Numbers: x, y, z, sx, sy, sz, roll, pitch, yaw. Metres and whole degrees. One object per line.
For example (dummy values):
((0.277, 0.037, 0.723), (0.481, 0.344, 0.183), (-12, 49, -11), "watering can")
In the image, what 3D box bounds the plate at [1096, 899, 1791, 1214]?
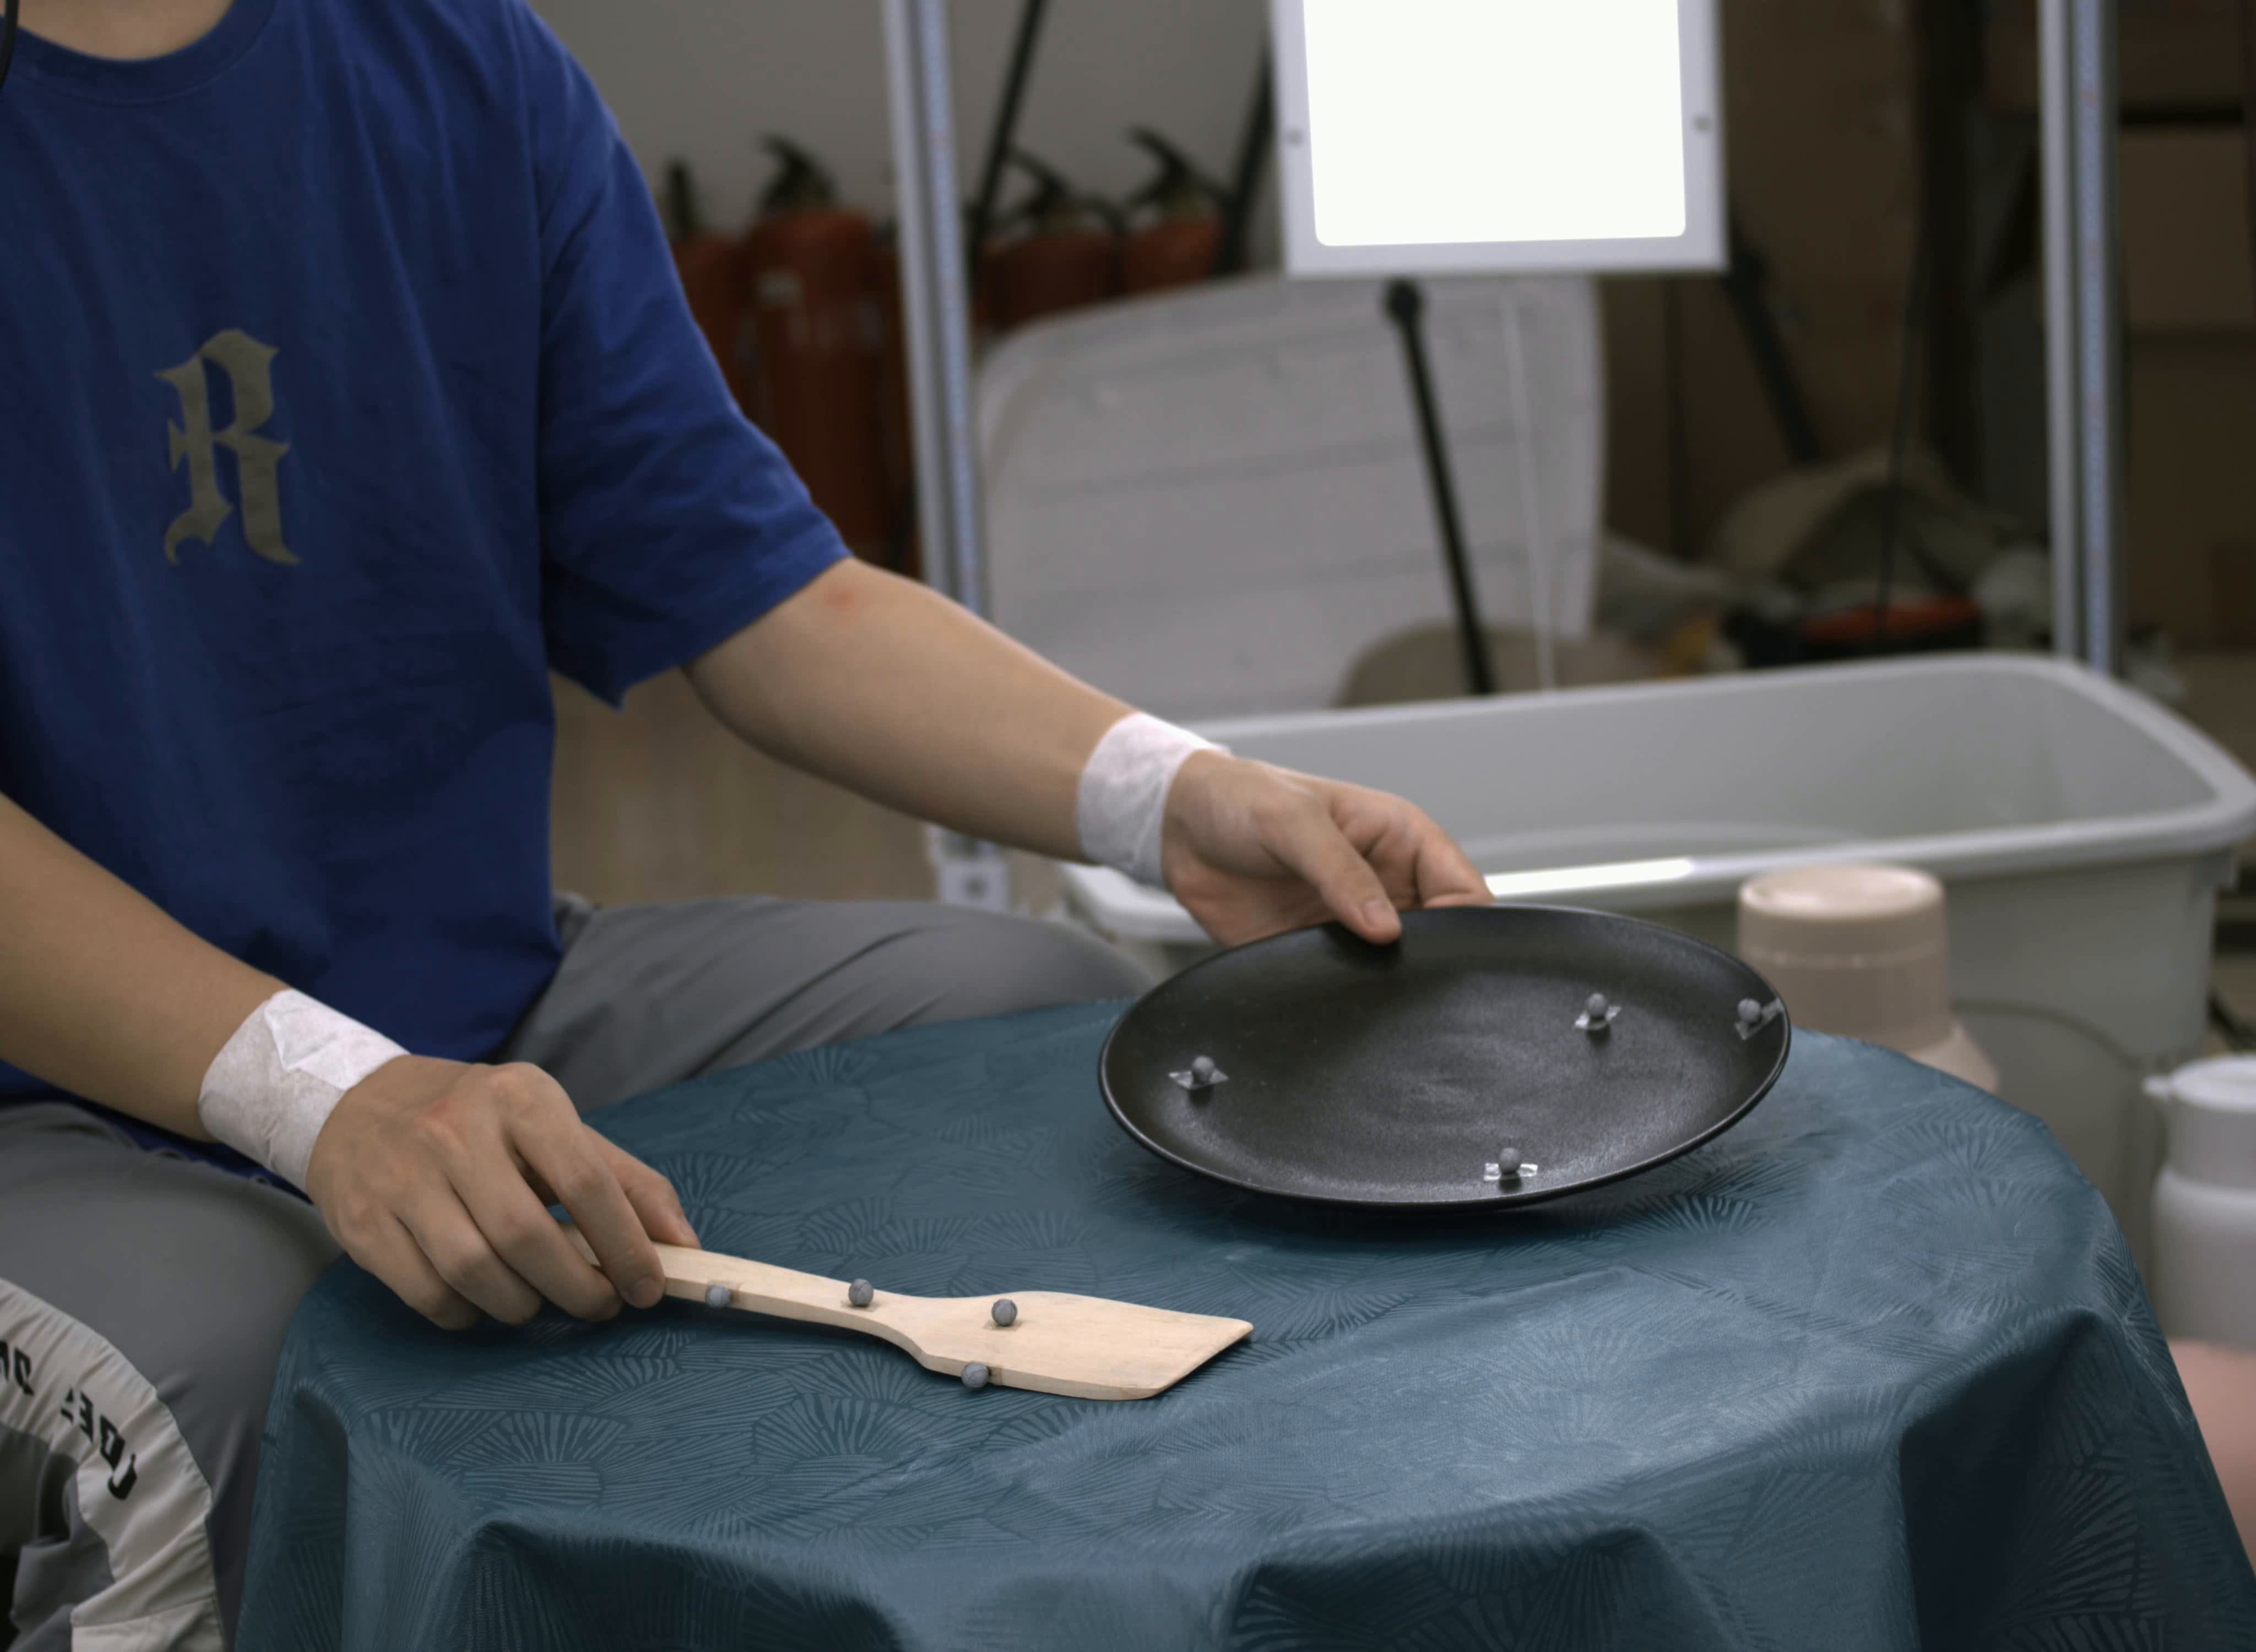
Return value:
((0.110, 0.085, 1.918), (0.244, 0.023, 0.244), (-6, 23, 1), "plate")

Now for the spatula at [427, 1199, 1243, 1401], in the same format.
((-0.105, 0.151, 1.788), (0.298, 0.011, 0.070), (8, 19, 30), "spatula")
